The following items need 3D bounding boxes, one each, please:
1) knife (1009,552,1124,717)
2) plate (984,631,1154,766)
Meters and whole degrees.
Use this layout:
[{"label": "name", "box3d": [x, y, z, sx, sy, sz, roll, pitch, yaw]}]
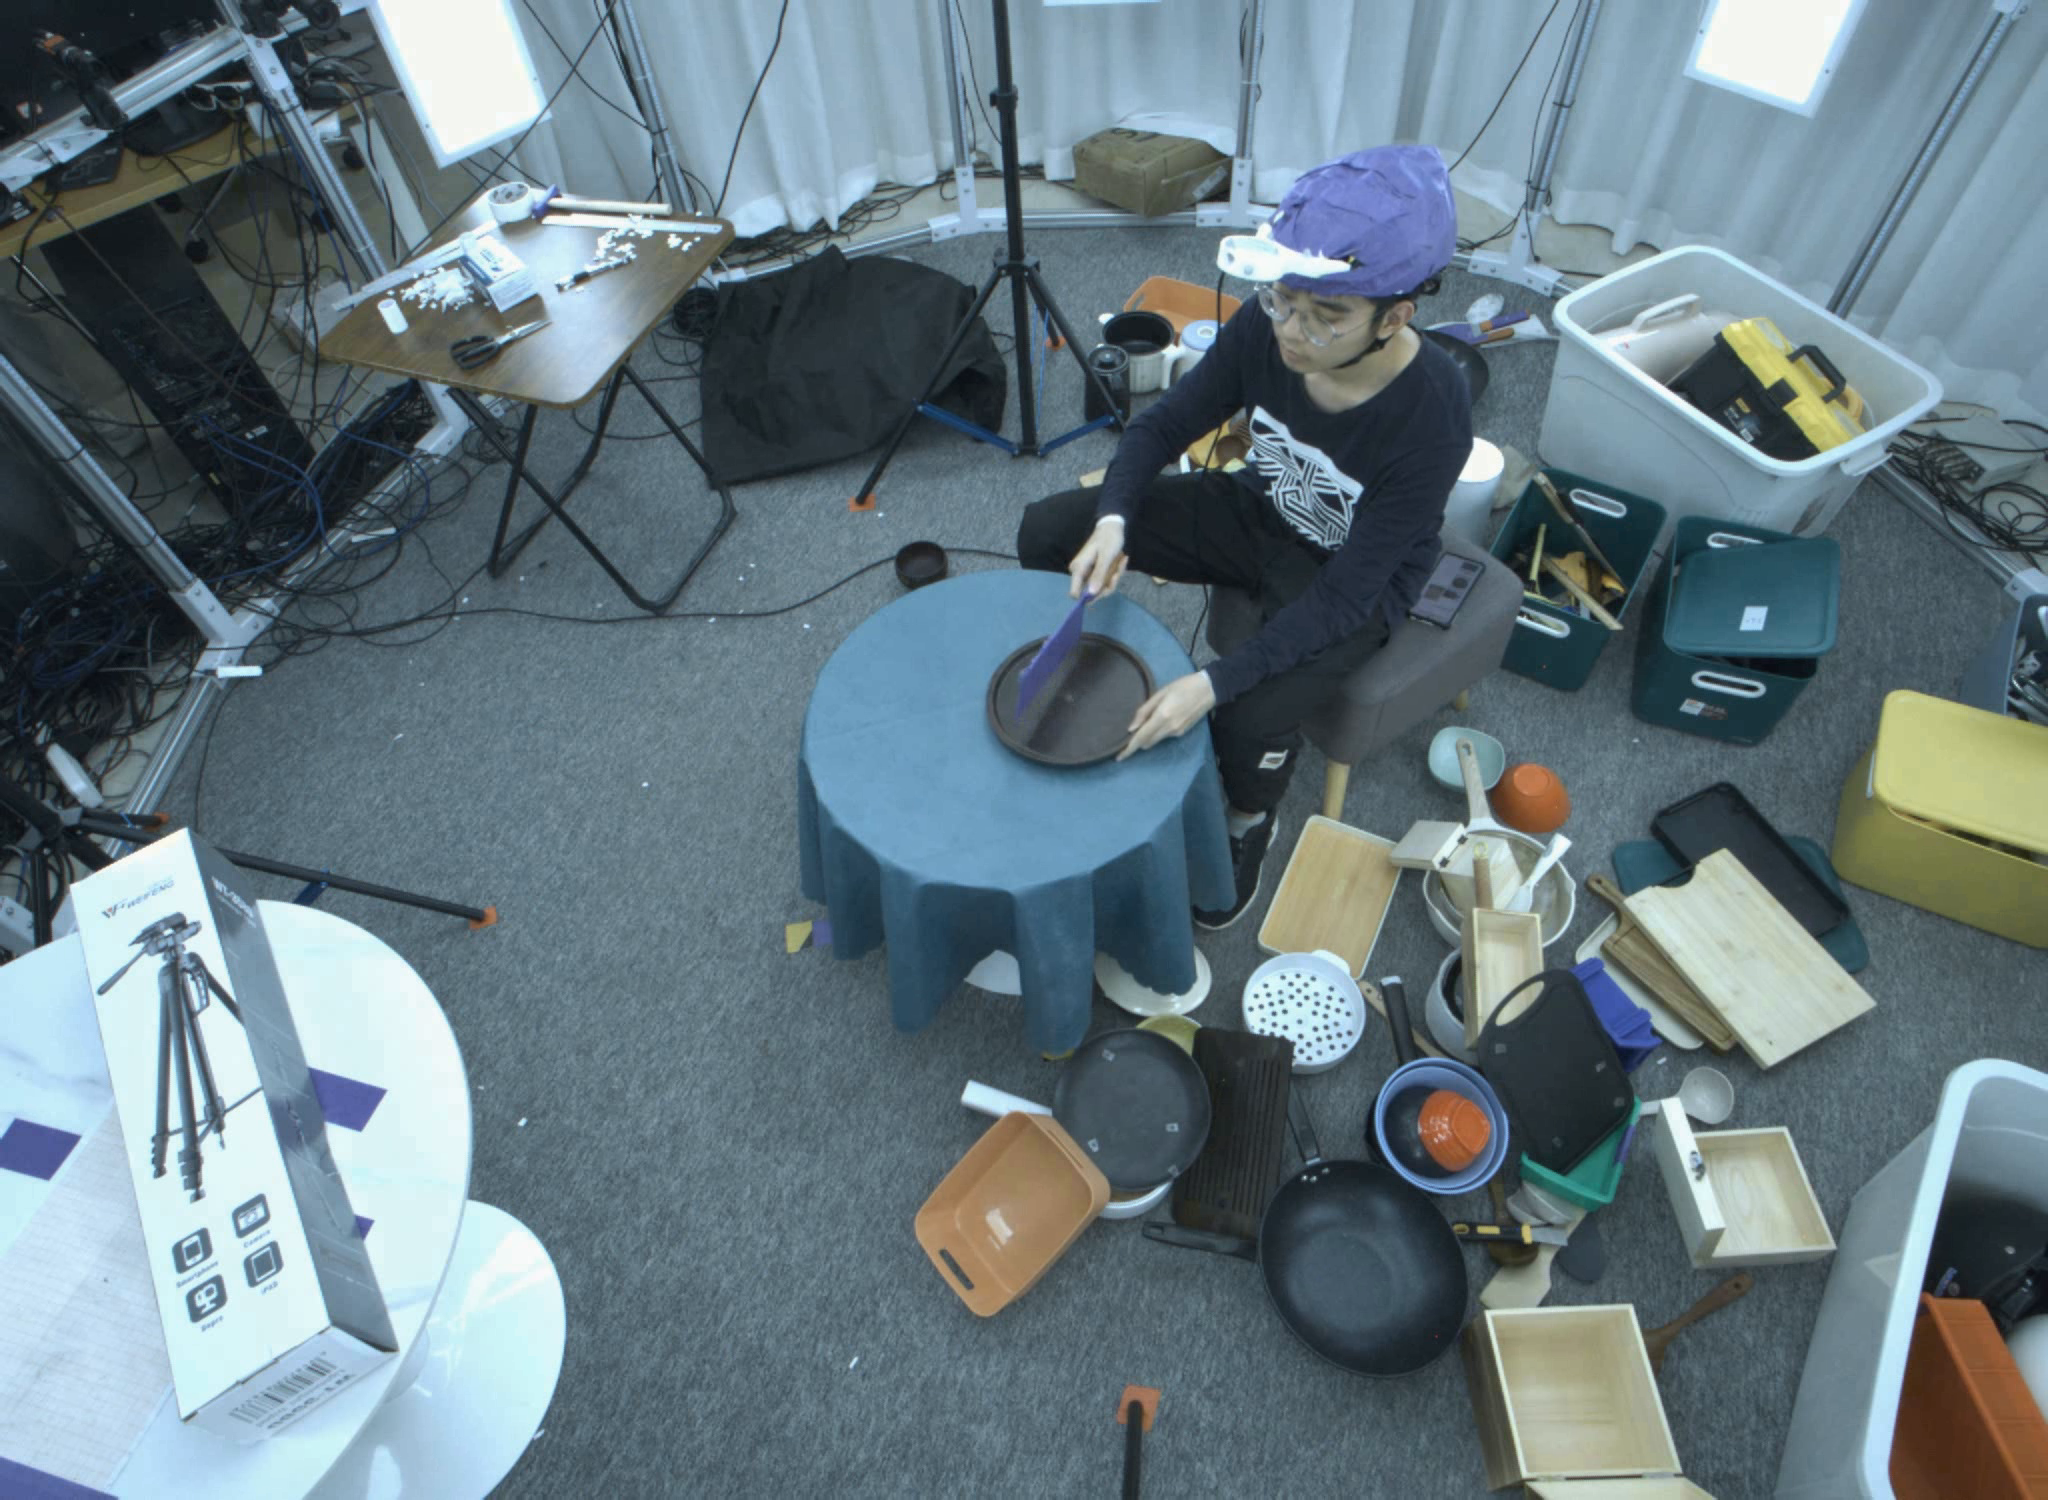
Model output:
[{"label": "knife", "box3d": [0.059, -0.173, 1.807, 0.032, 0.104, 0.316, 28, 54, 14]}, {"label": "plate", "box3d": [0.068, -0.078, 1.828, 0.254, 0.029, 0.252, -2, 53, 5]}]
